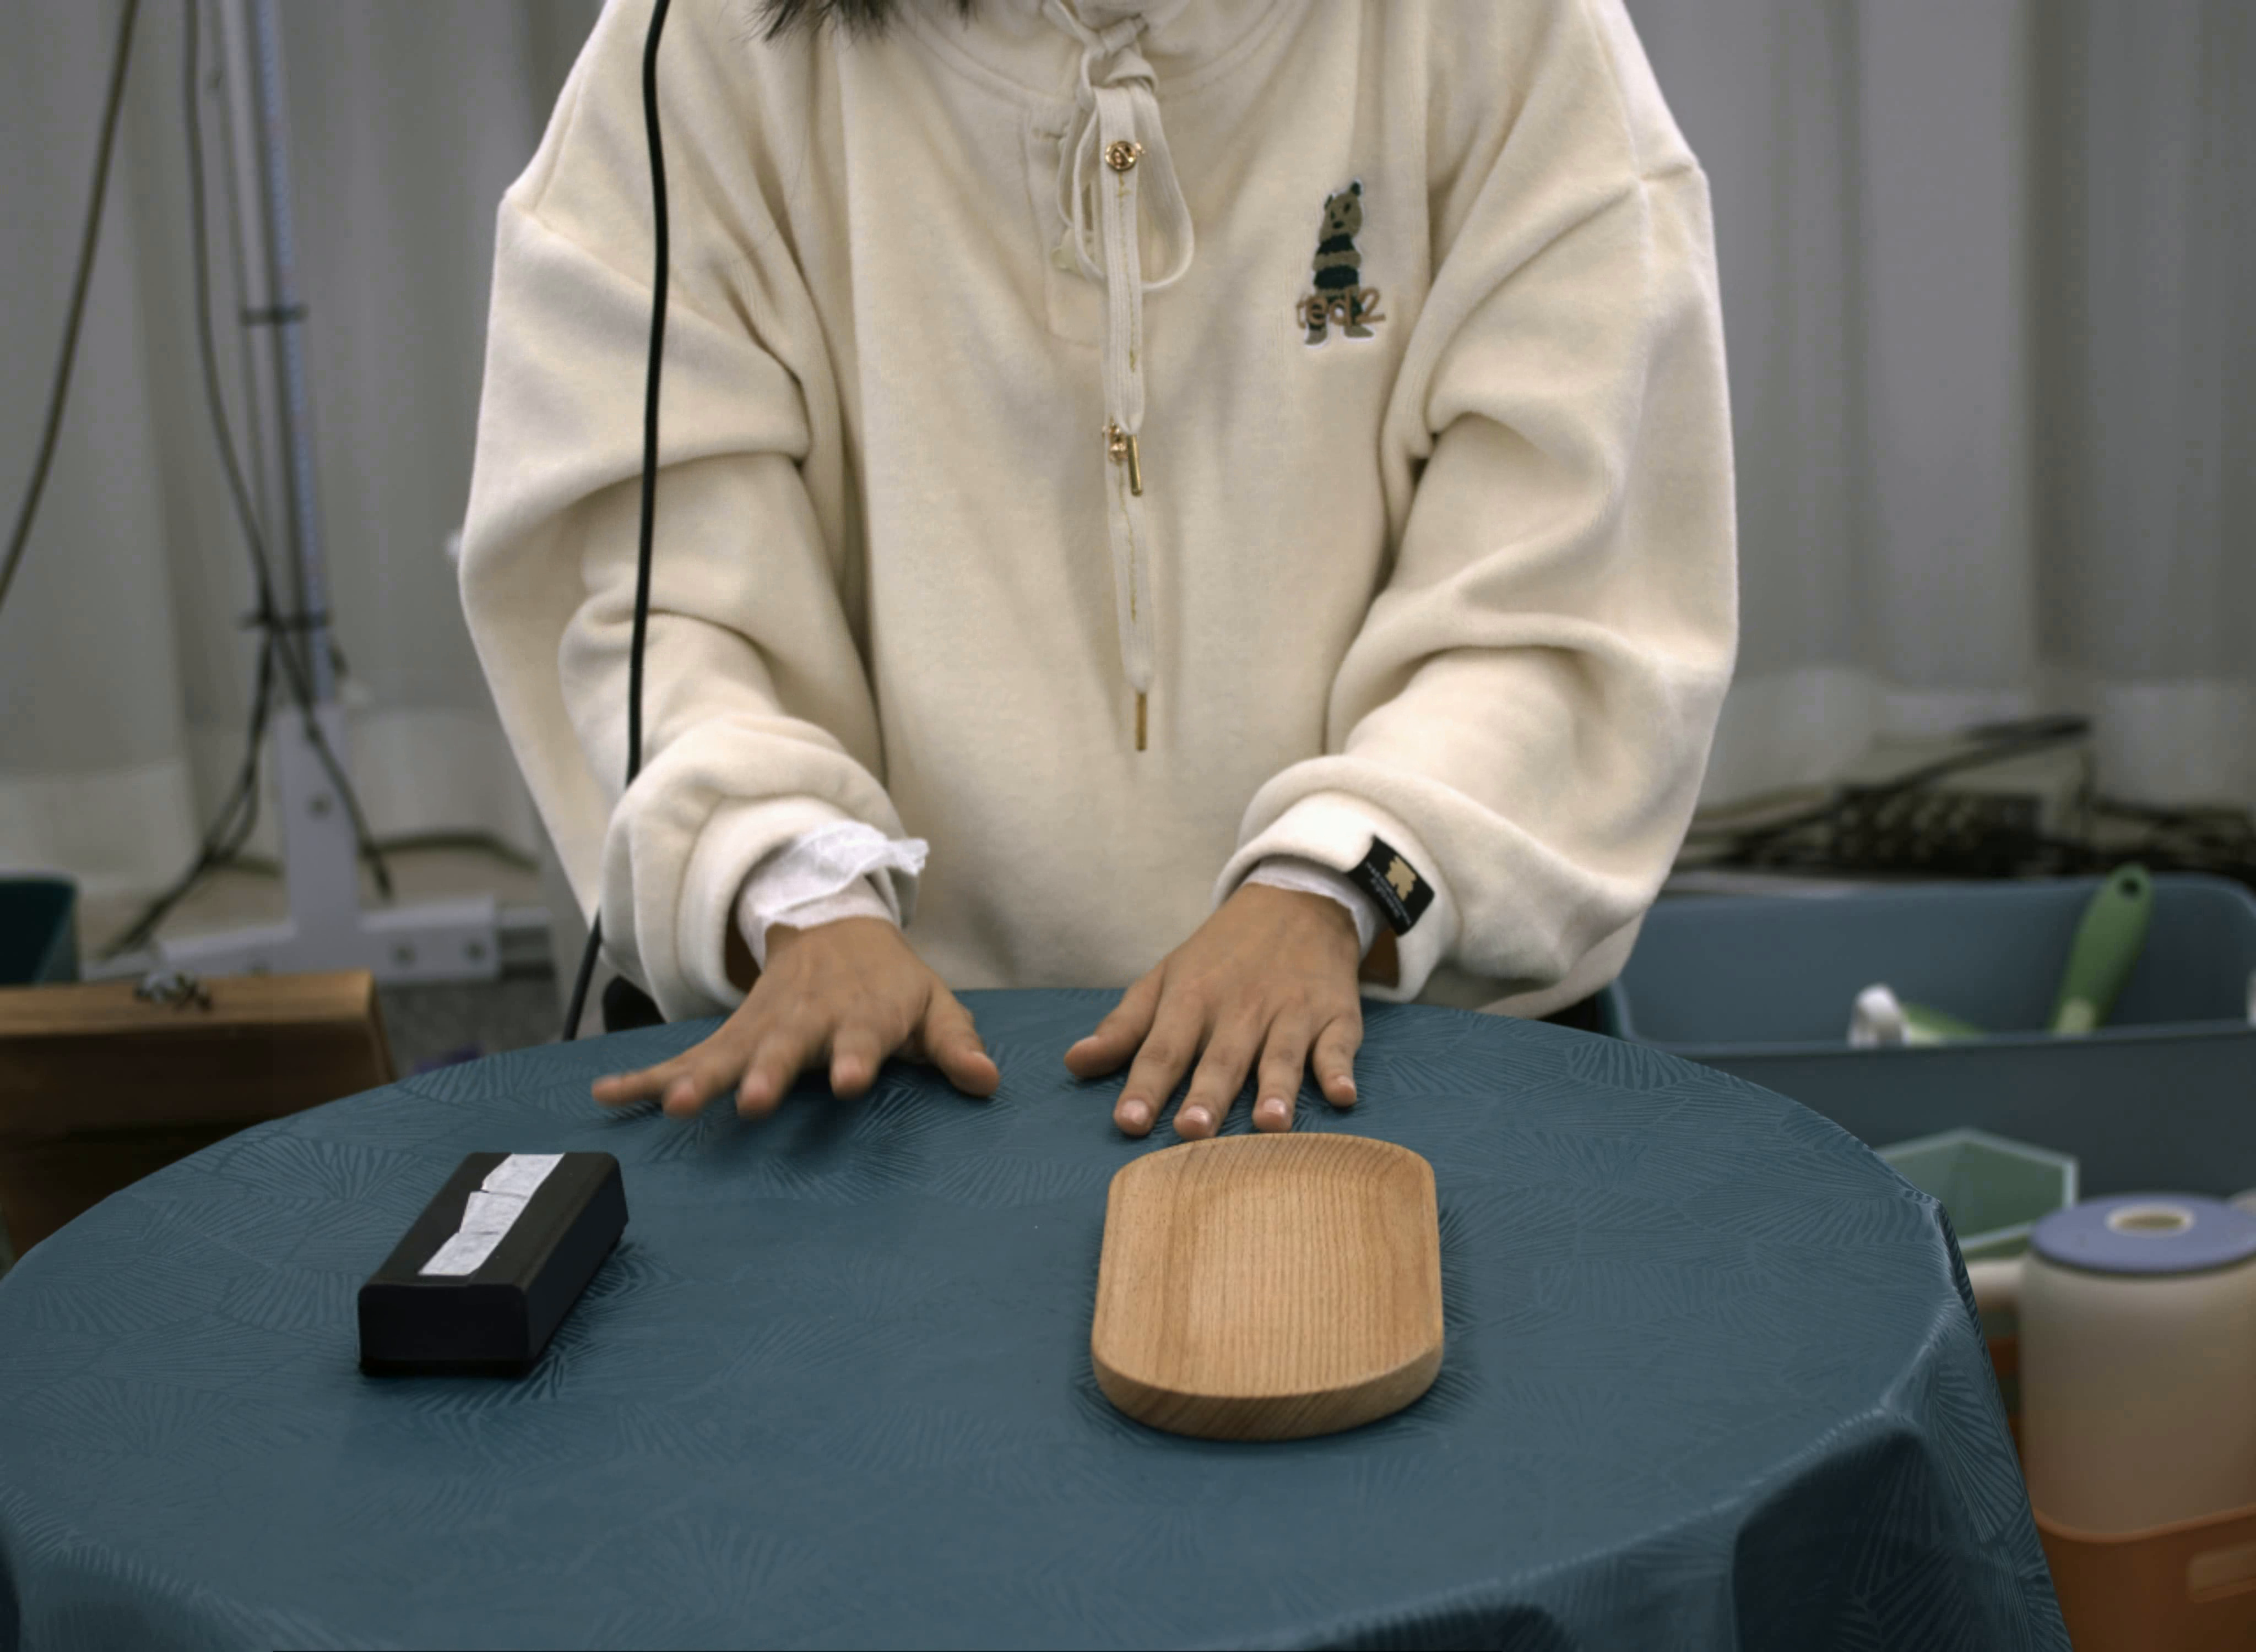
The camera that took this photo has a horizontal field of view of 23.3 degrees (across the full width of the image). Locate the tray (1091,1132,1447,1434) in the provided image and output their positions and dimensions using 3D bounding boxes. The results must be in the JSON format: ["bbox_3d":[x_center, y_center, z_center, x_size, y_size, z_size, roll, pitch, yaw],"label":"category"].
[{"bbox_3d":[0.040,0.132,1.610,0.101,0.020,0.232,-2,13,1],"label":"tray"}]

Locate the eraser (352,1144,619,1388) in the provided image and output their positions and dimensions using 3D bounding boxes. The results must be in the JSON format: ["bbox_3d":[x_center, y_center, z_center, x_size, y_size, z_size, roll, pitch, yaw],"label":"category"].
[{"bbox_3d":[-0.191,0.131,1.635,0.053,0.030,0.126,5,17,6],"label":"eraser"}]
